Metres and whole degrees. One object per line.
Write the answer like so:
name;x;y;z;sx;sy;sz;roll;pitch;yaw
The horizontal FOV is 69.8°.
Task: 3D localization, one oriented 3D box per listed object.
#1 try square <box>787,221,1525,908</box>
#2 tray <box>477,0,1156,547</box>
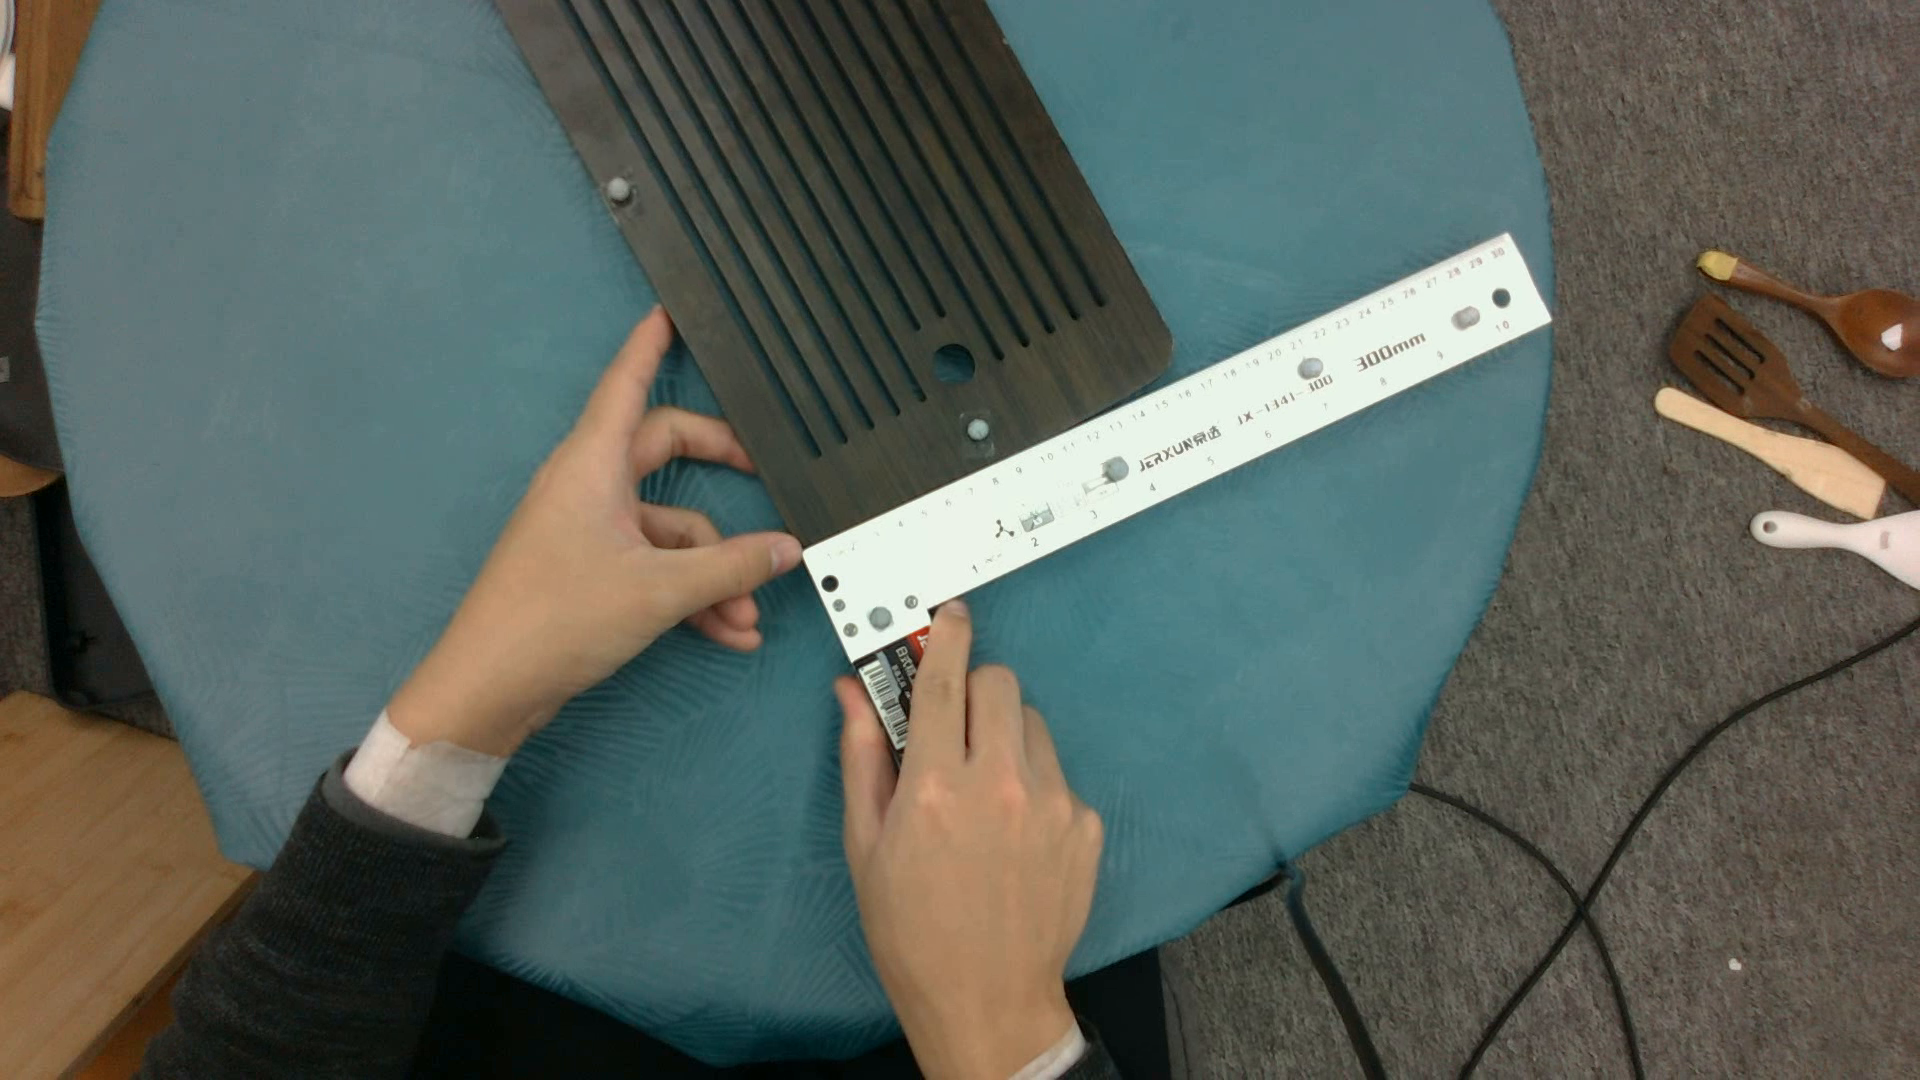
try square;0.103;0.004;0.536;0.313;0.016;0.152;-25;88;-7
tray;-0.065;-0.164;0.543;0.170;0.018;0.306;-29;88;-9
